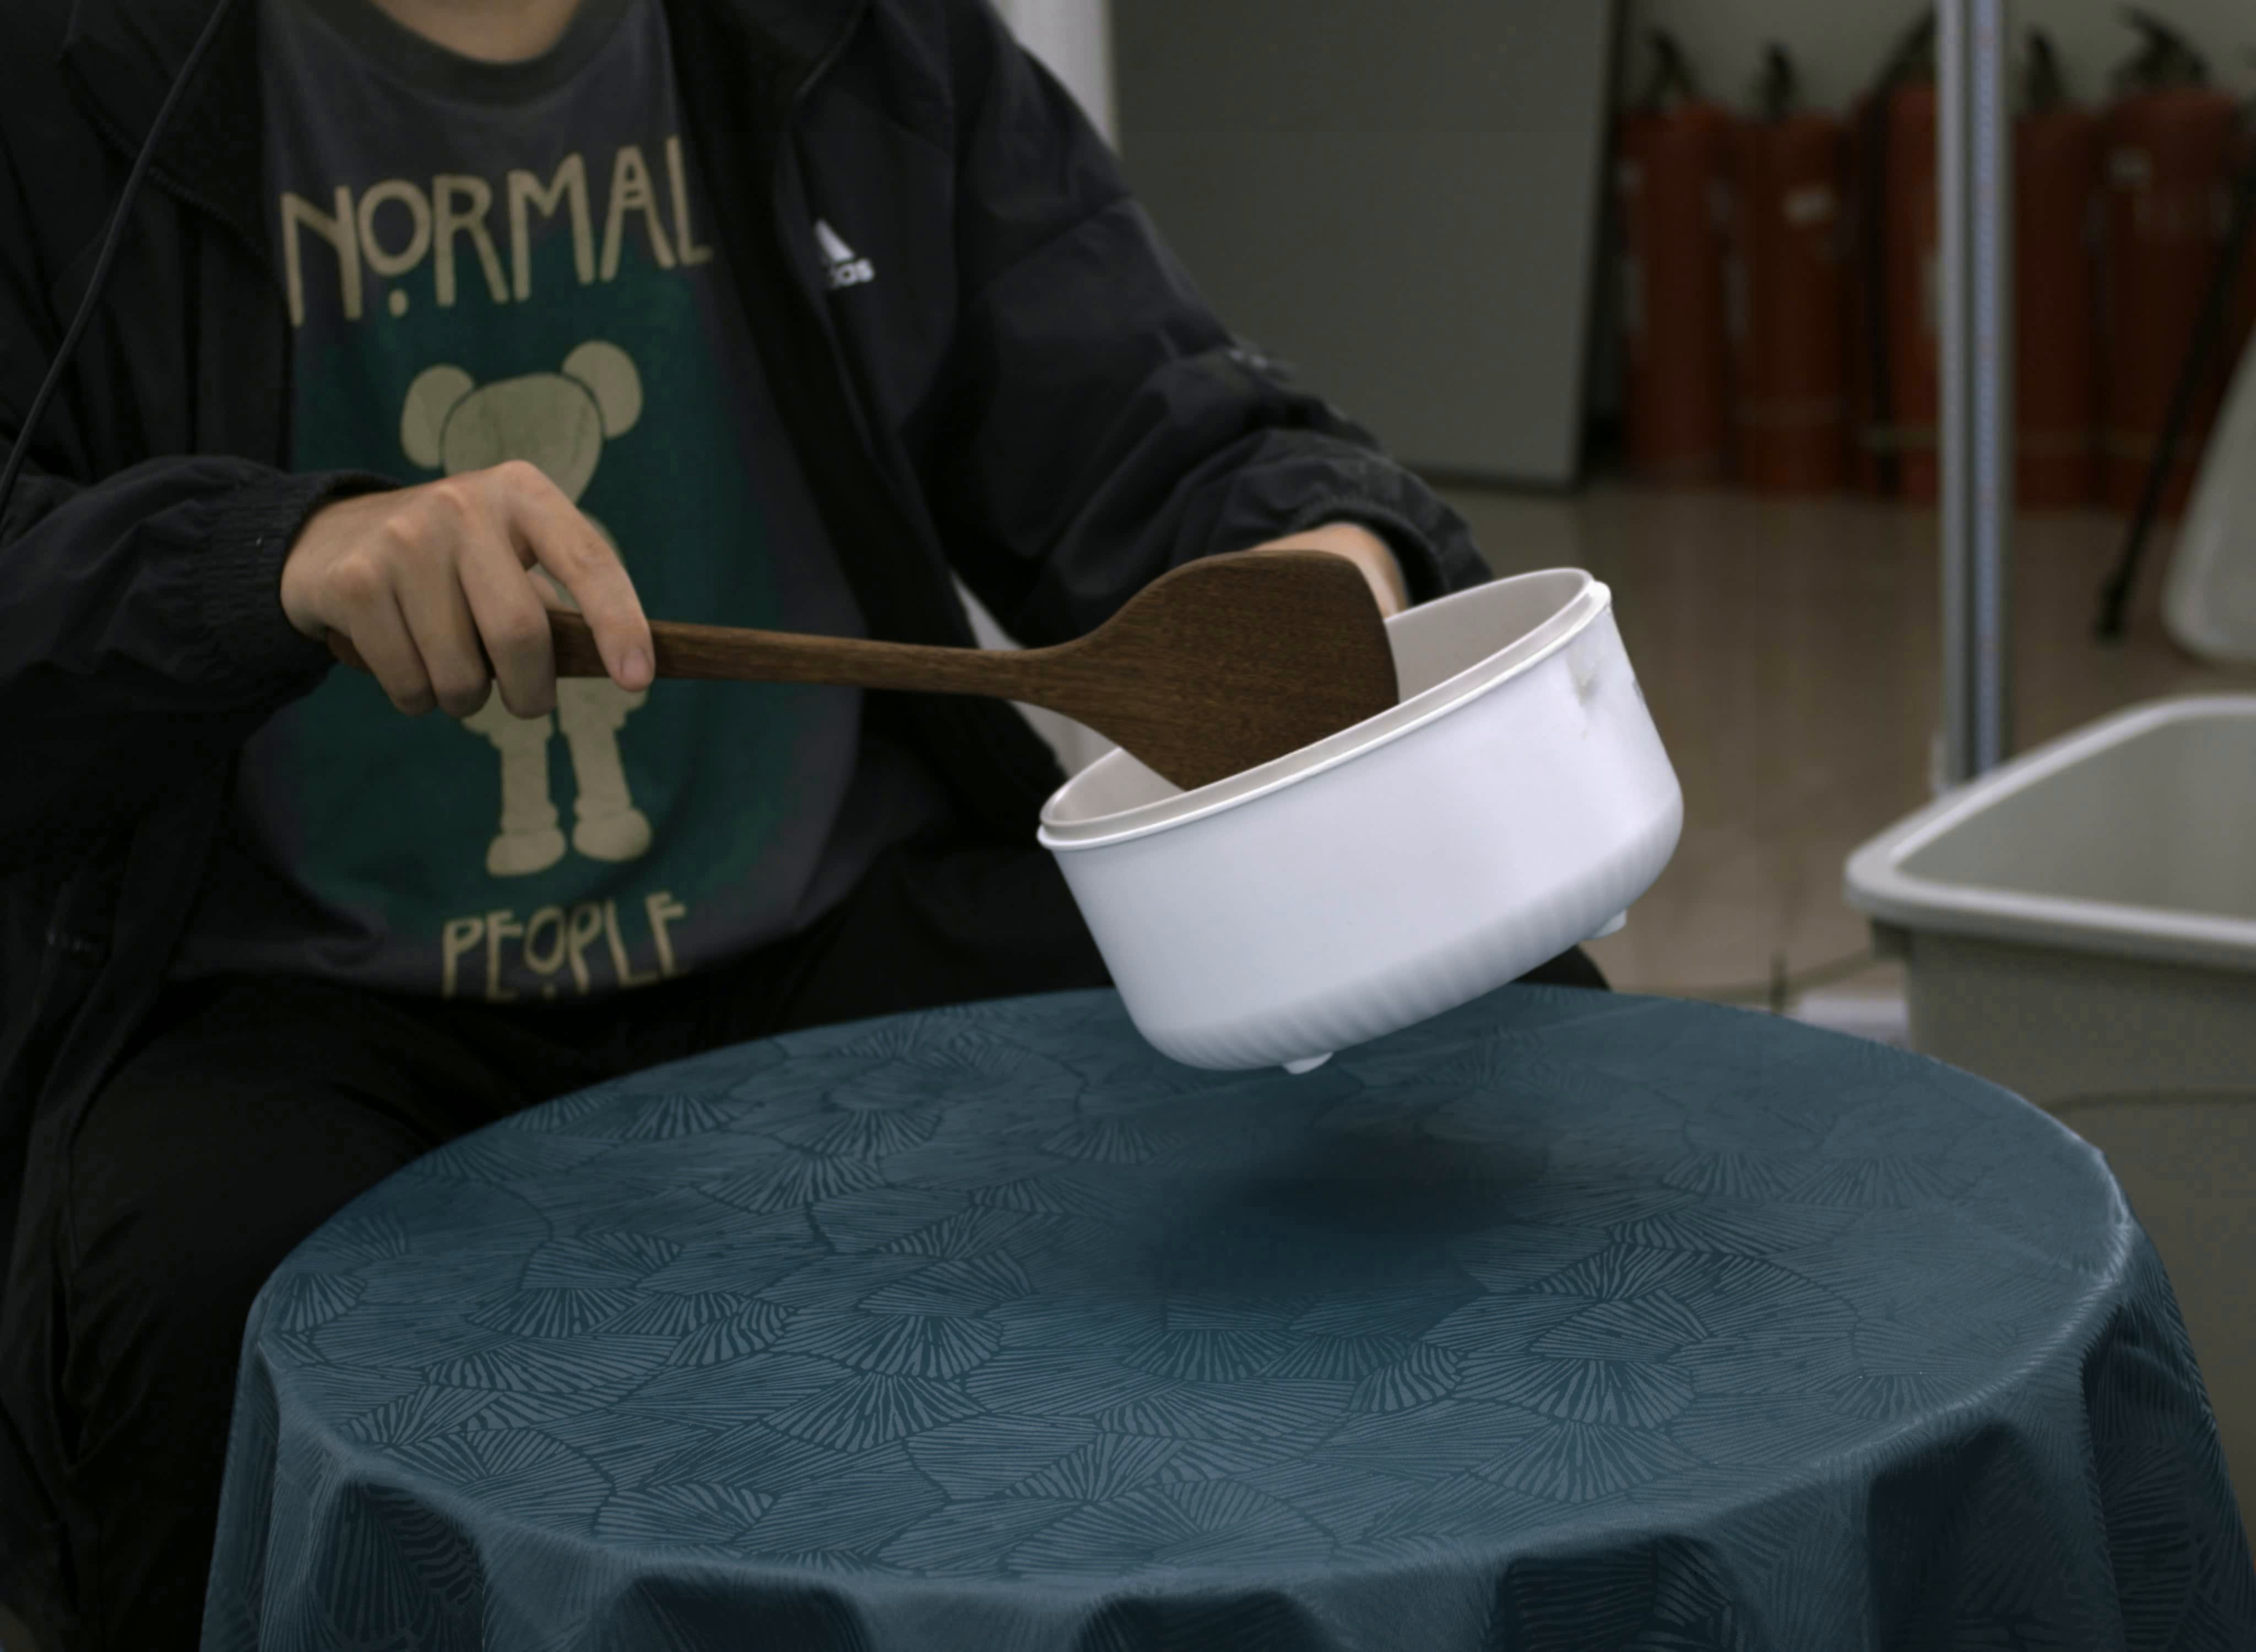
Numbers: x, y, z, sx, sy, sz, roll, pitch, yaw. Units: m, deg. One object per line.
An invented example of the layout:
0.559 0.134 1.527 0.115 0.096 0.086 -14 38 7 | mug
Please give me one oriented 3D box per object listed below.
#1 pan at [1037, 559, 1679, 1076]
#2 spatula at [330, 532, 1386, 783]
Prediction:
0.074 -0.005 1.811 0.199 0.103 0.355 -26 6 -1 | pan
-0.095 -0.055 1.776 0.386 0.097 0.015 4 25 25 | spatula
